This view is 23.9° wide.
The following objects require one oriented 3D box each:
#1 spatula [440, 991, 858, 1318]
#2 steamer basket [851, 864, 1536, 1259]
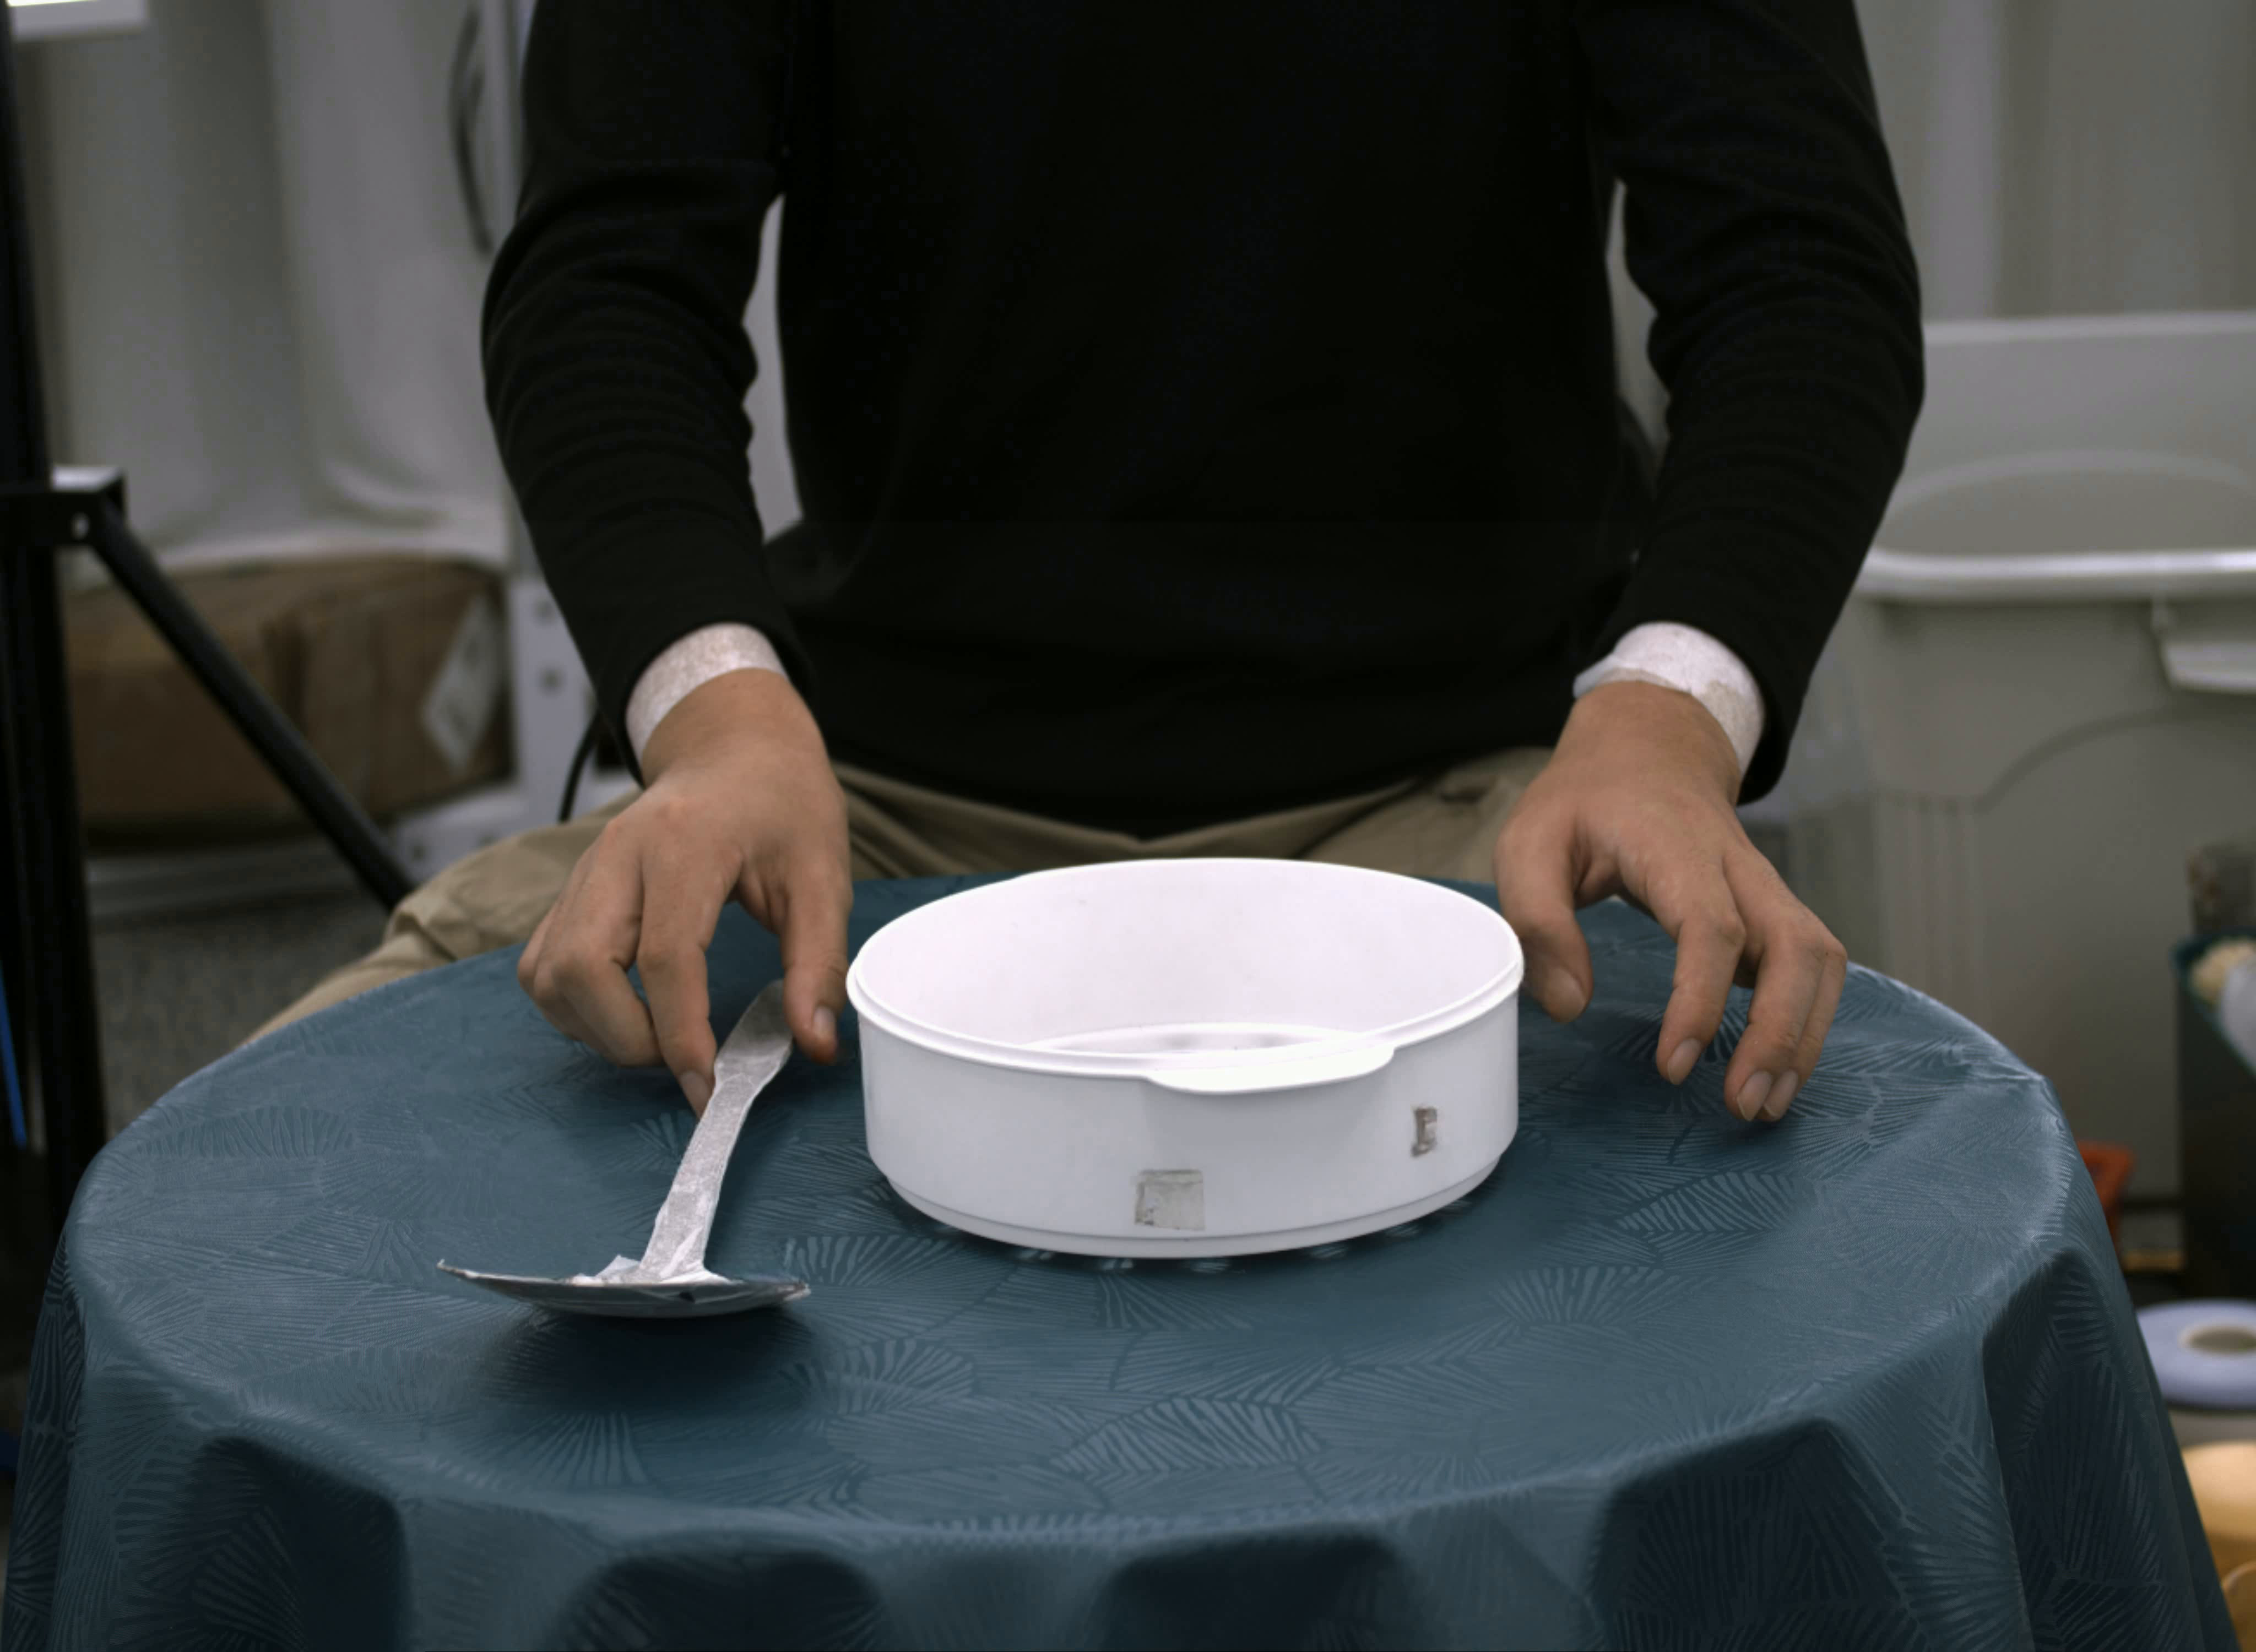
[{"bbox_3d":[-0.119,0.088,1.576,0.099,0.045,0.364,-2,16,7],"label":"spatula"},{"bbox_3d":[0.020,0.069,1.564,0.199,0.069,0.233,-5,15,-11],"label":"steamer basket"}]
